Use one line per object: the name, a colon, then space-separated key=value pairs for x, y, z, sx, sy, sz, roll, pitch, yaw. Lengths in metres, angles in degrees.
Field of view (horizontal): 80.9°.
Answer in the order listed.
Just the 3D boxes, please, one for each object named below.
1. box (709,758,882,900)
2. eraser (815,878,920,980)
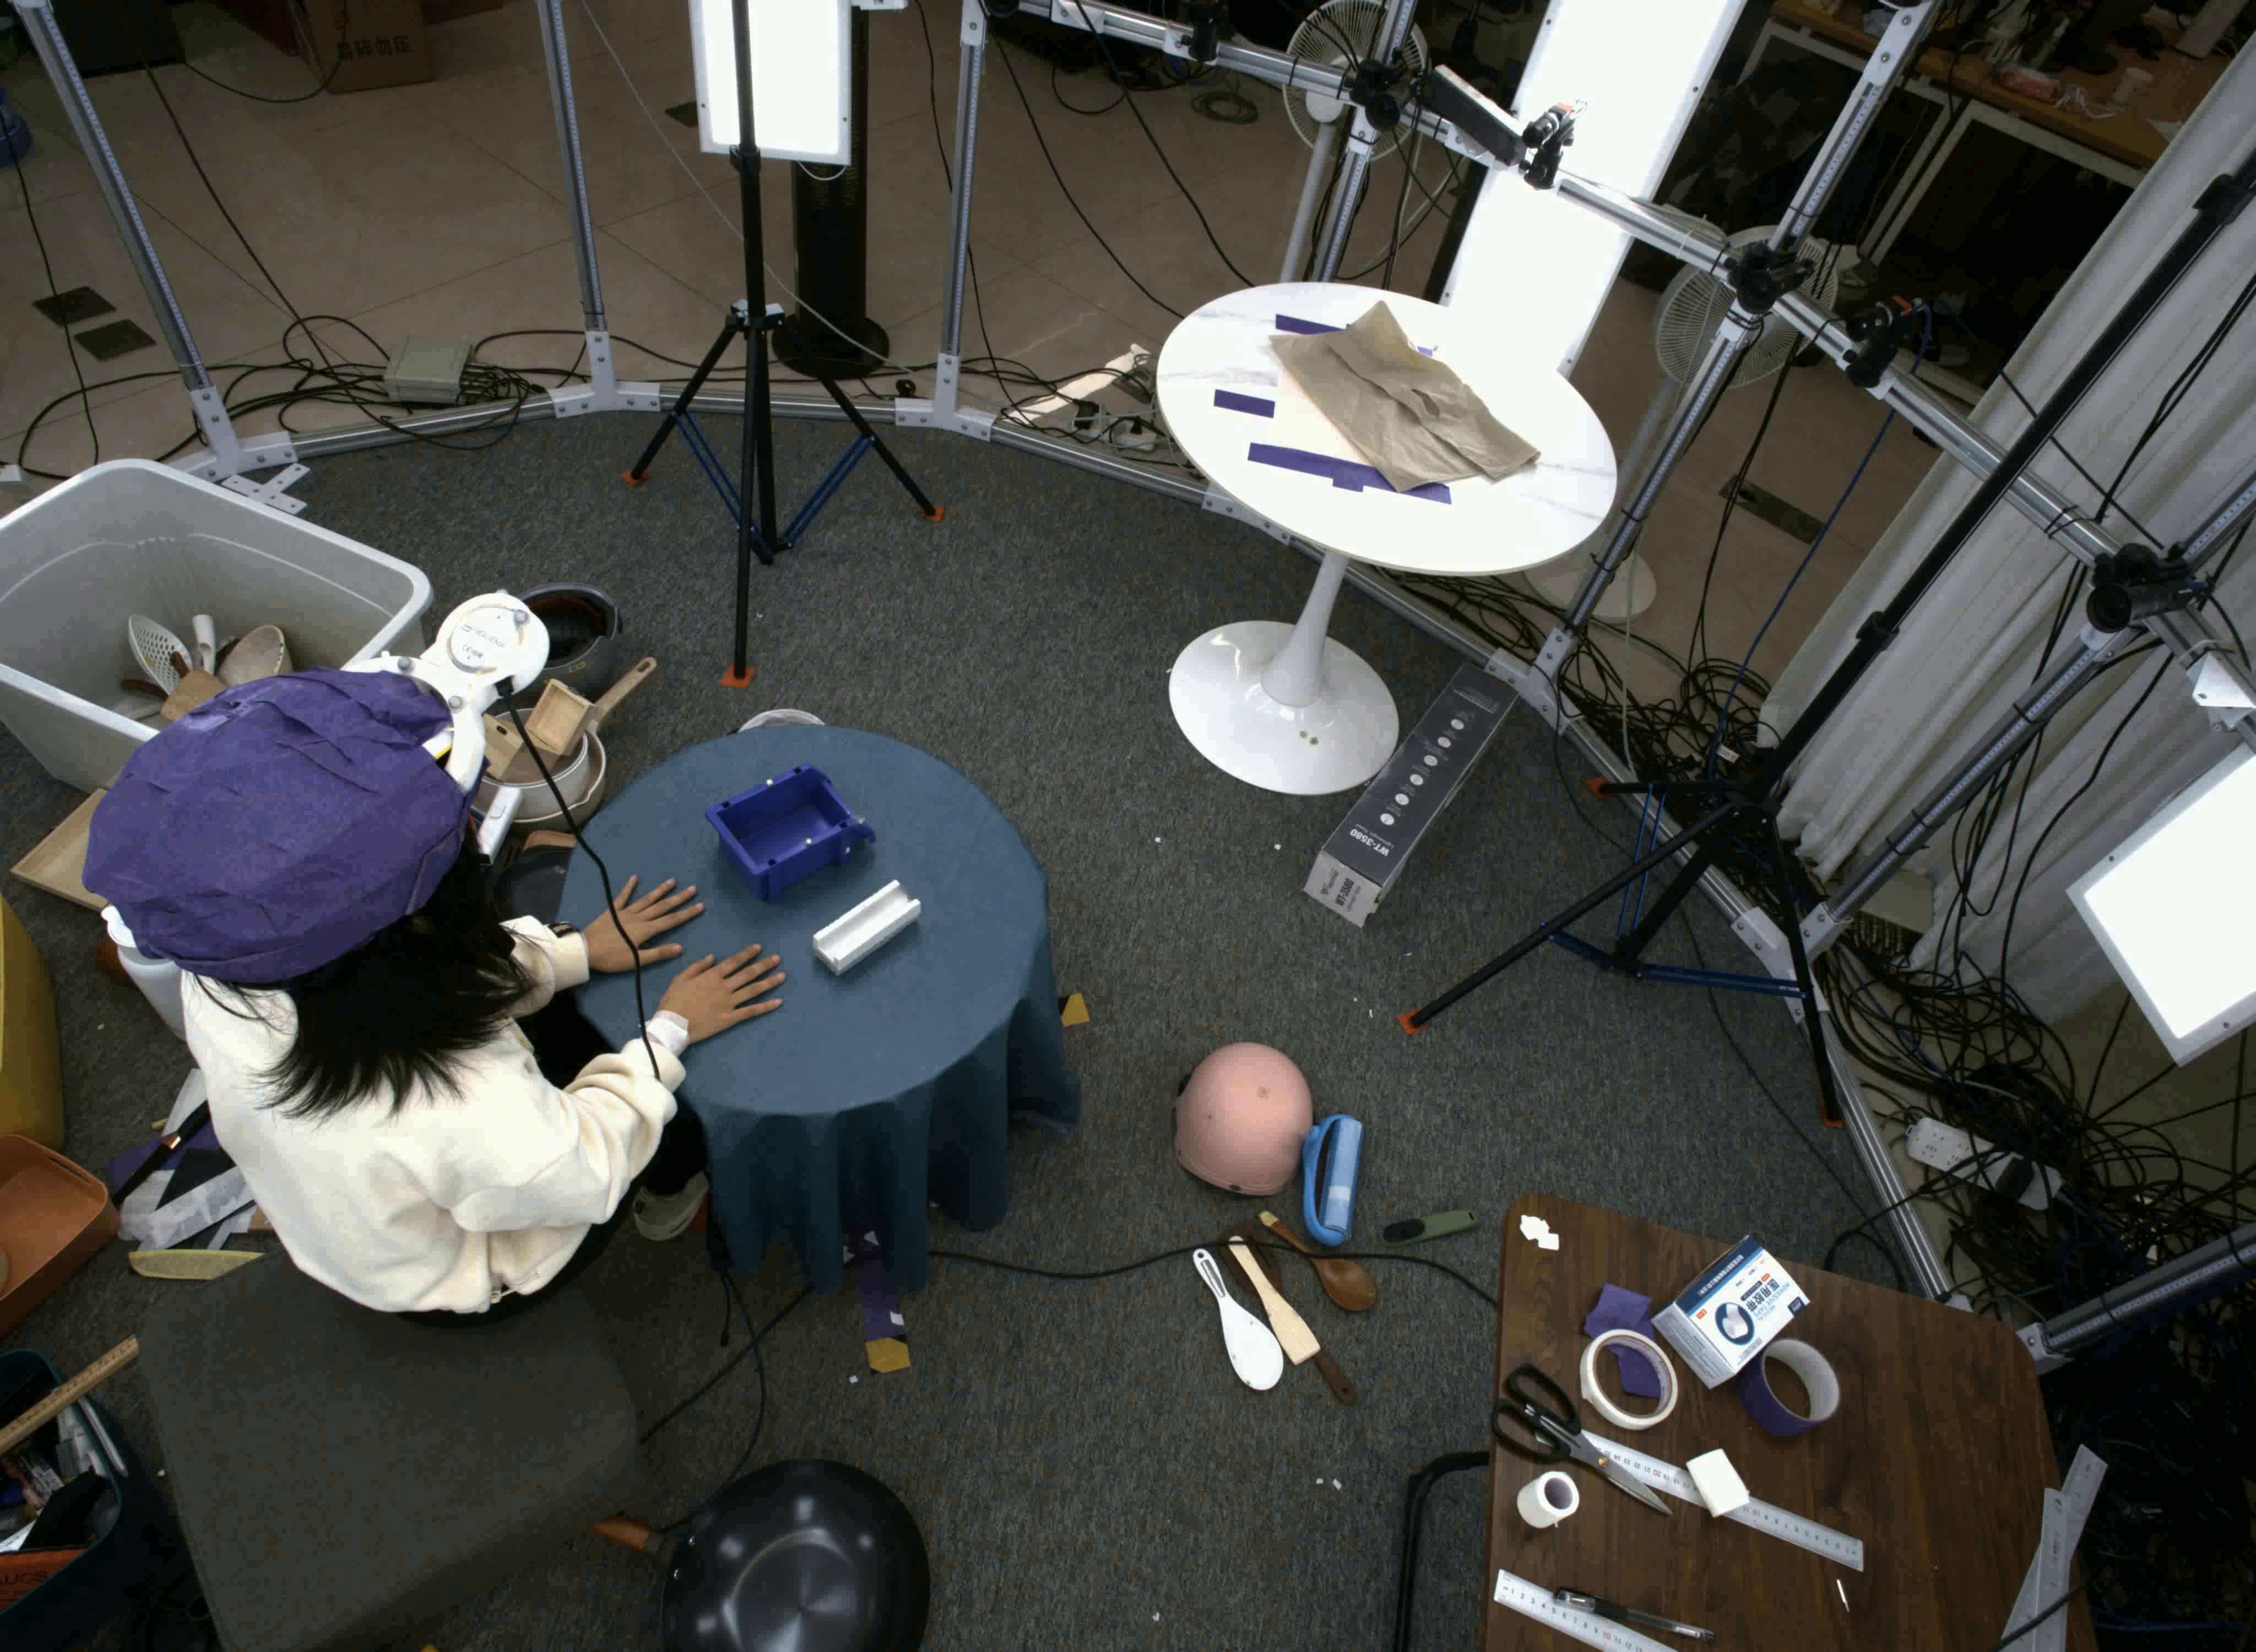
box: x=-0.426 y=-0.002 z=1.667 sx=0.180 sy=0.083 sz=0.121 roll=-30 pitch=65 yaw=-29
eraser: x=-0.324 y=0.126 z=1.621 sx=0.049 sy=0.047 sz=0.134 roll=39 pitch=53 yaw=15
